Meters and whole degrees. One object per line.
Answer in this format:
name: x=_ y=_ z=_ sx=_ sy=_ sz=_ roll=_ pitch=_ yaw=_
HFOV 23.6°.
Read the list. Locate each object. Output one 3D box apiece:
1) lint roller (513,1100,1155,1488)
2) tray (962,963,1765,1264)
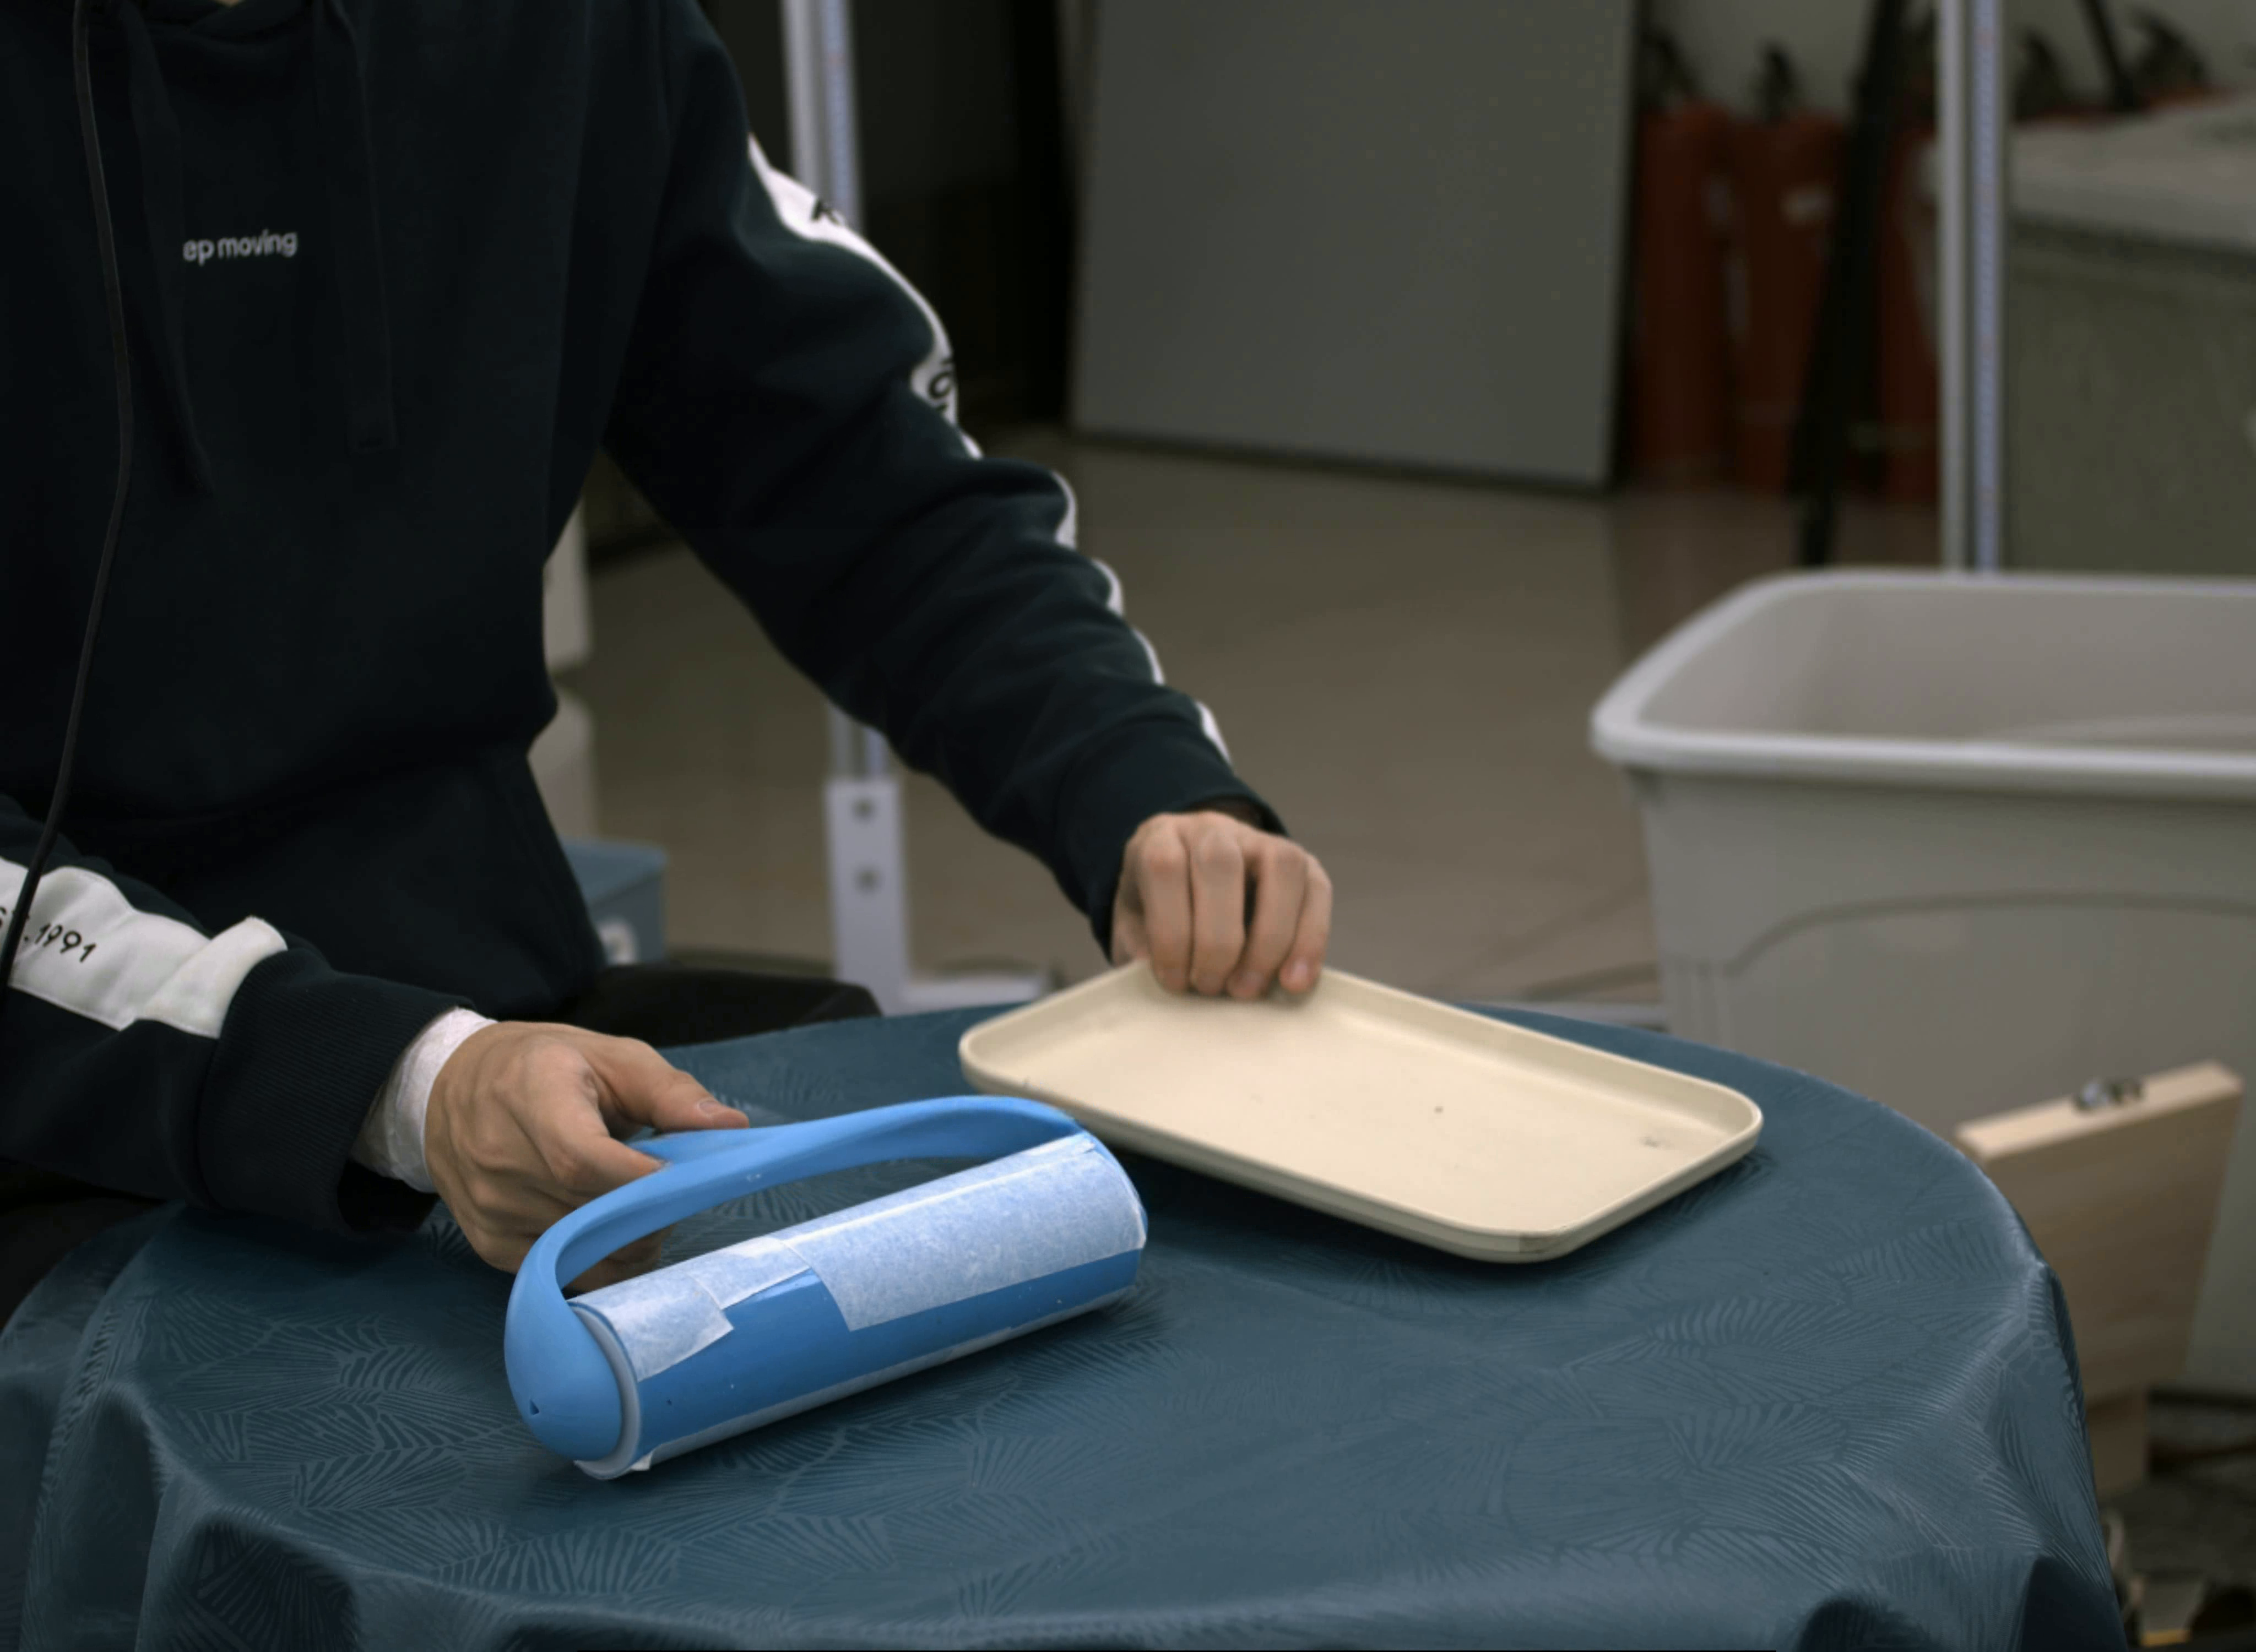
lint roller: x=-0.122 y=0.127 z=1.639 sx=0.224 sy=0.068 sz=0.182 roll=-18 pitch=26 yaw=-40
tray: x=0.077 y=0.093 z=1.769 sx=0.241 sy=0.018 sz=0.168 roll=14 pitch=20 yaw=34
